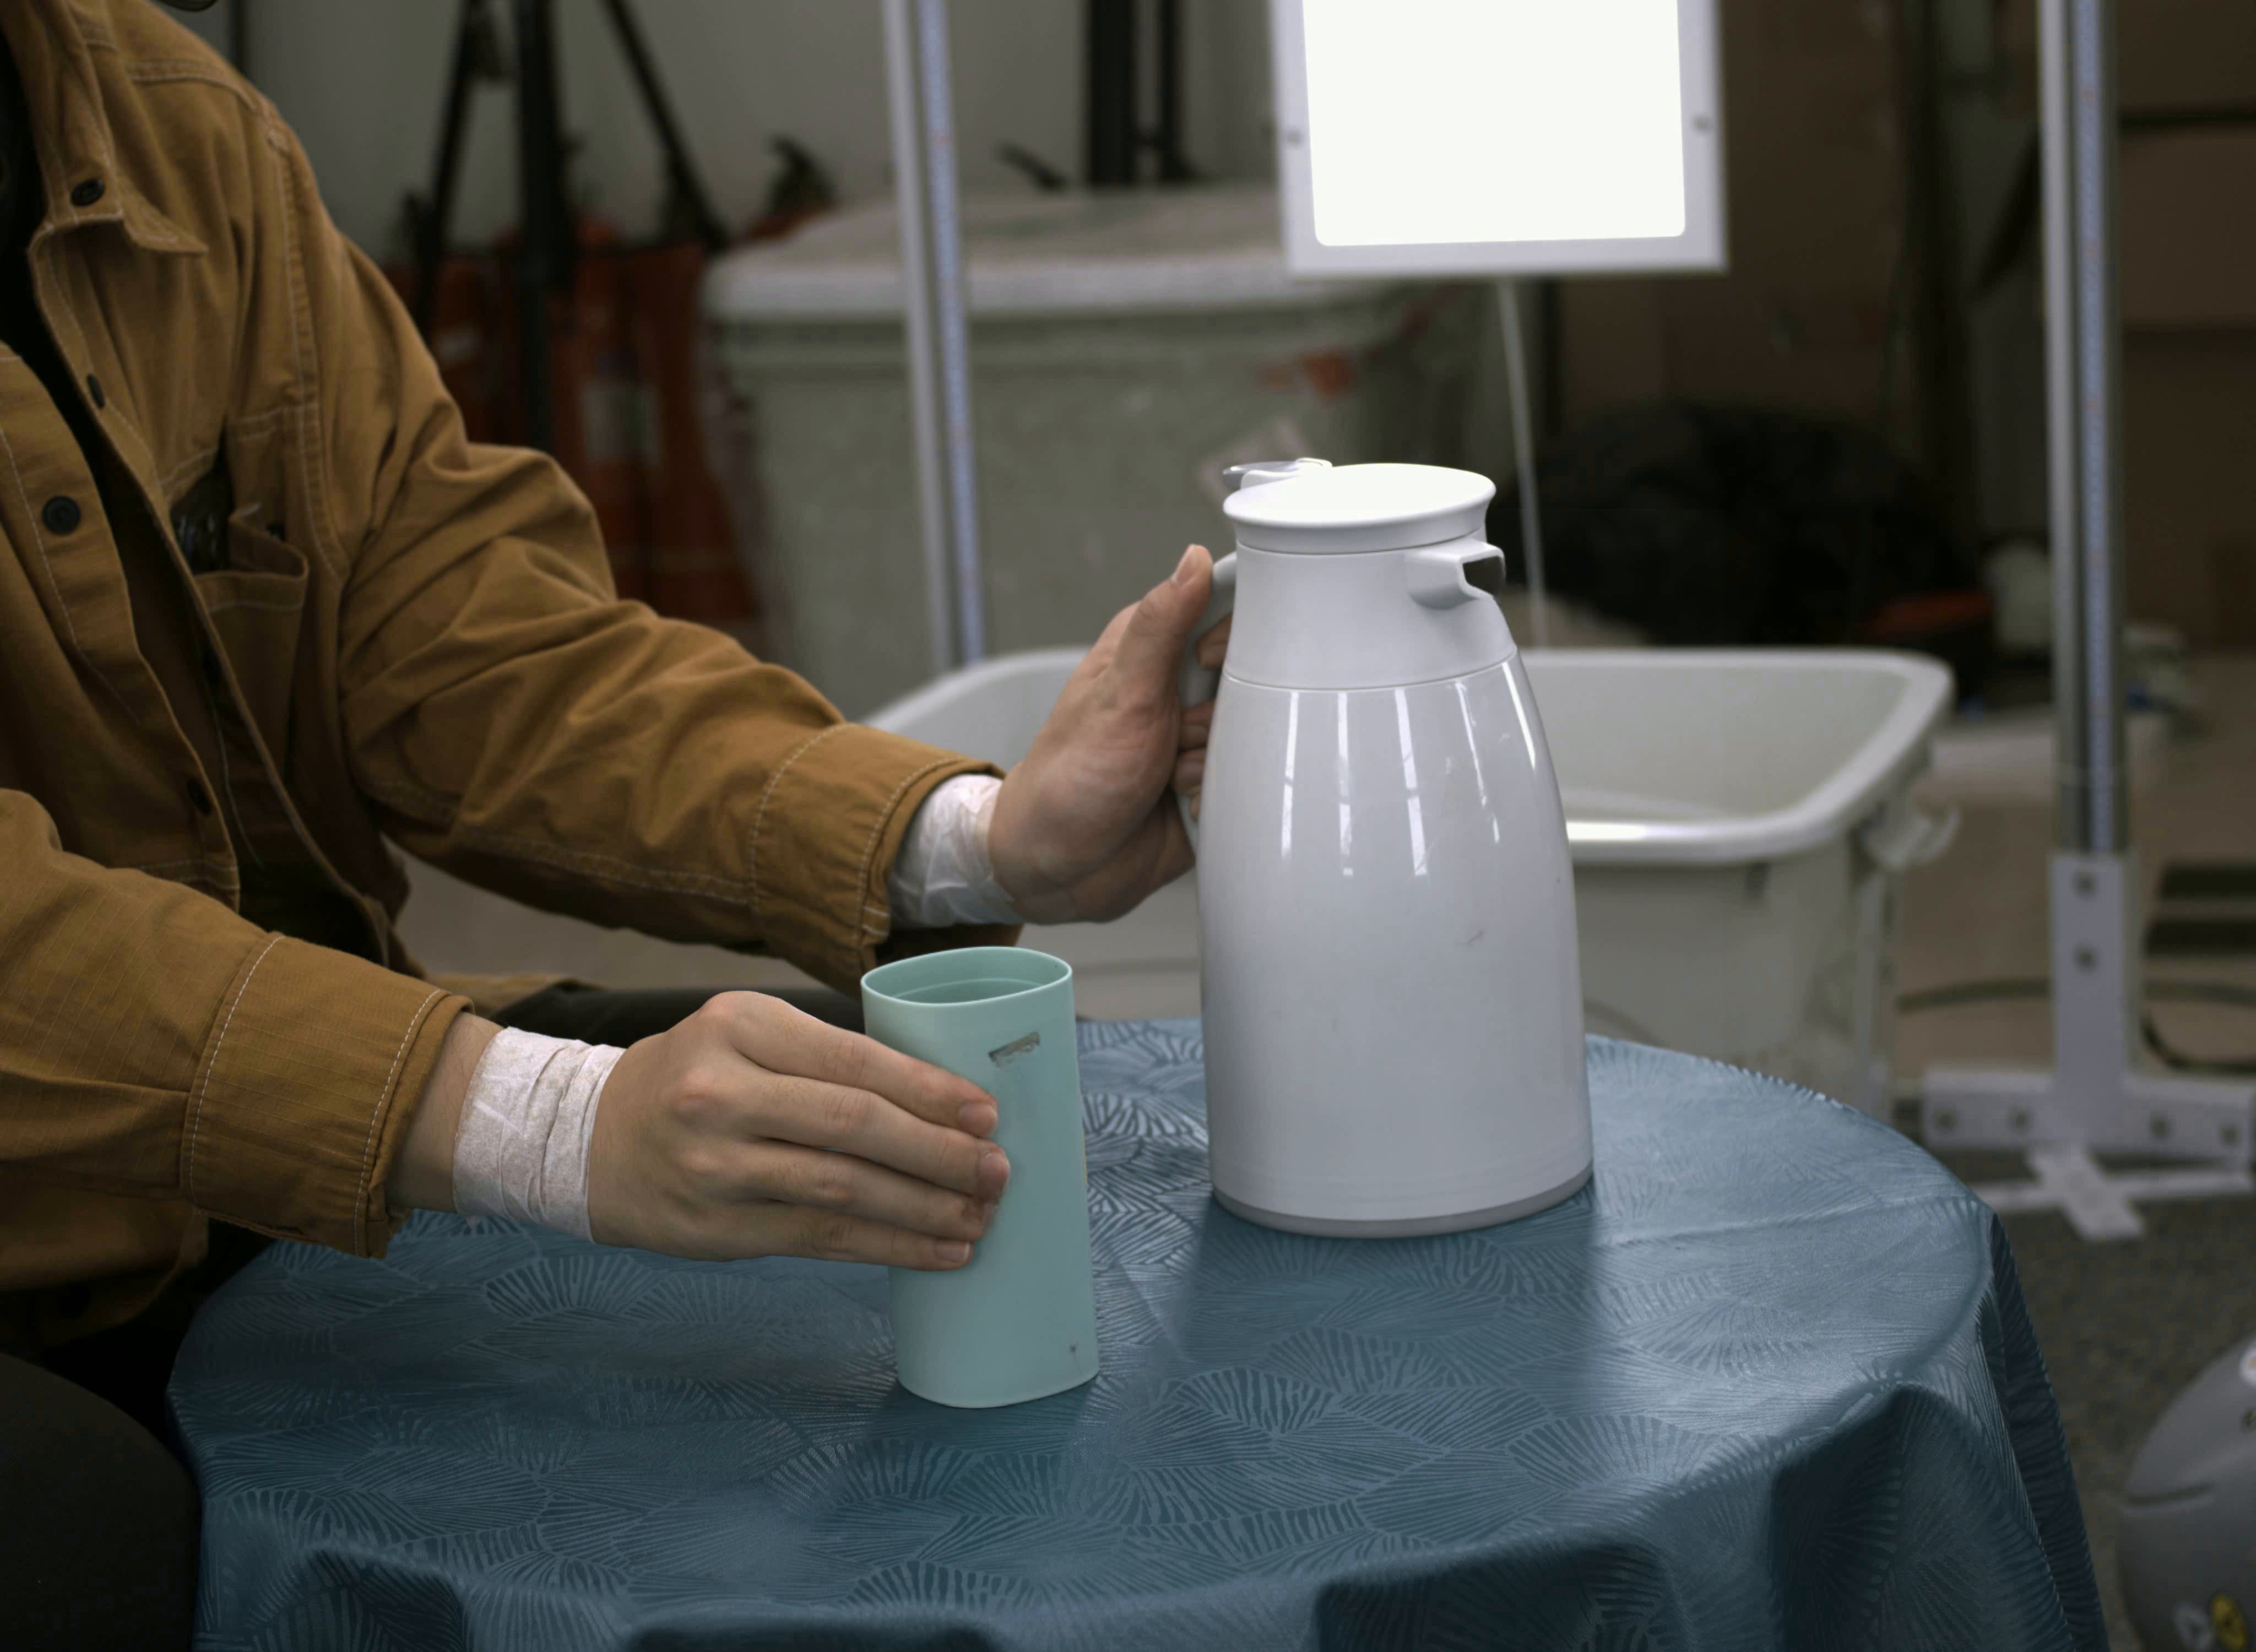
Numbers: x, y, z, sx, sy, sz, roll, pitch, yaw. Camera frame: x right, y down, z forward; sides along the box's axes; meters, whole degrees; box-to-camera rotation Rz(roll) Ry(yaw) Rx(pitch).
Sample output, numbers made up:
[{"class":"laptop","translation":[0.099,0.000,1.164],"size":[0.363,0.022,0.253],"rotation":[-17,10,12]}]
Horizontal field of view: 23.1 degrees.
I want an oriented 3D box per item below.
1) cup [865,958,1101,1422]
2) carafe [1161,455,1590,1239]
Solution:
[{"class":"cup","translation":[-0.046,0.113,1.714],"size":[0.066,0.133,0.066],"rotation":[-5,14,0]},{"class":"carafe","translation":[0.072,-0.001,1.871],"size":[0.129,0.249,0.171],"rotation":[-15,16,-35]}]
